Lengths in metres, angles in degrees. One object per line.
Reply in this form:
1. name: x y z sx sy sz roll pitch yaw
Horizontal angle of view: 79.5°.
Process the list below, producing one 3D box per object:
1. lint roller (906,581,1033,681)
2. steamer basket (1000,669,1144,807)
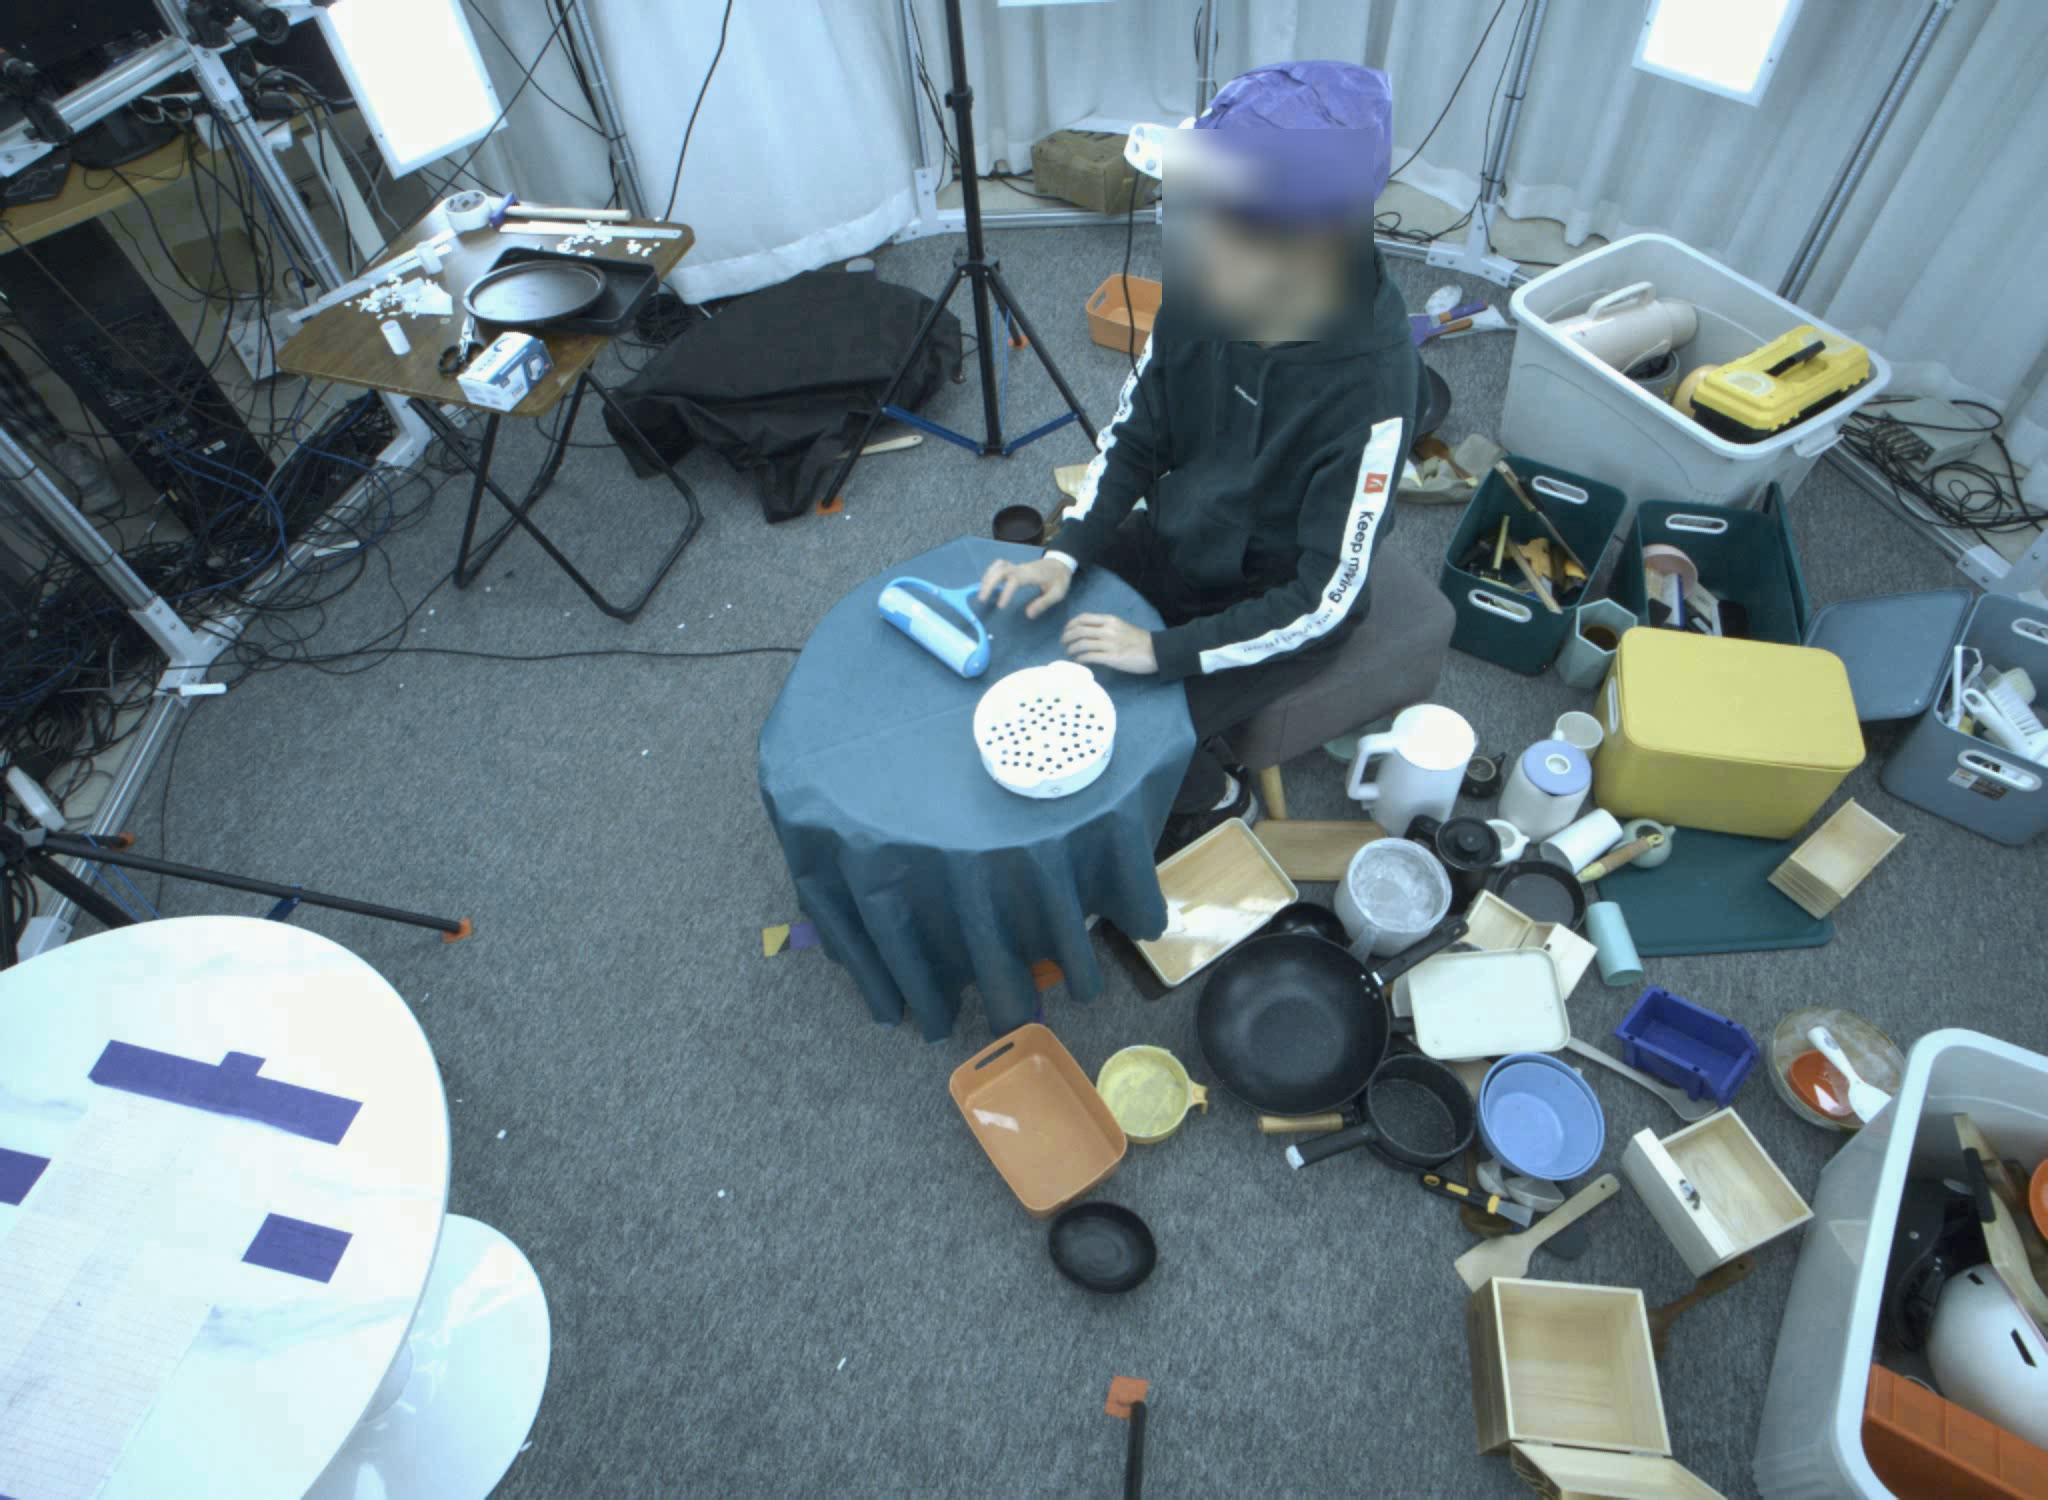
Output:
1. lint roller: -0.058 -0.215 1.904 0.224 0.069 0.181 34 64 26
2. steamer basket: 0.068 -0.013 1.748 0.199 0.070 0.231 20 57 15
